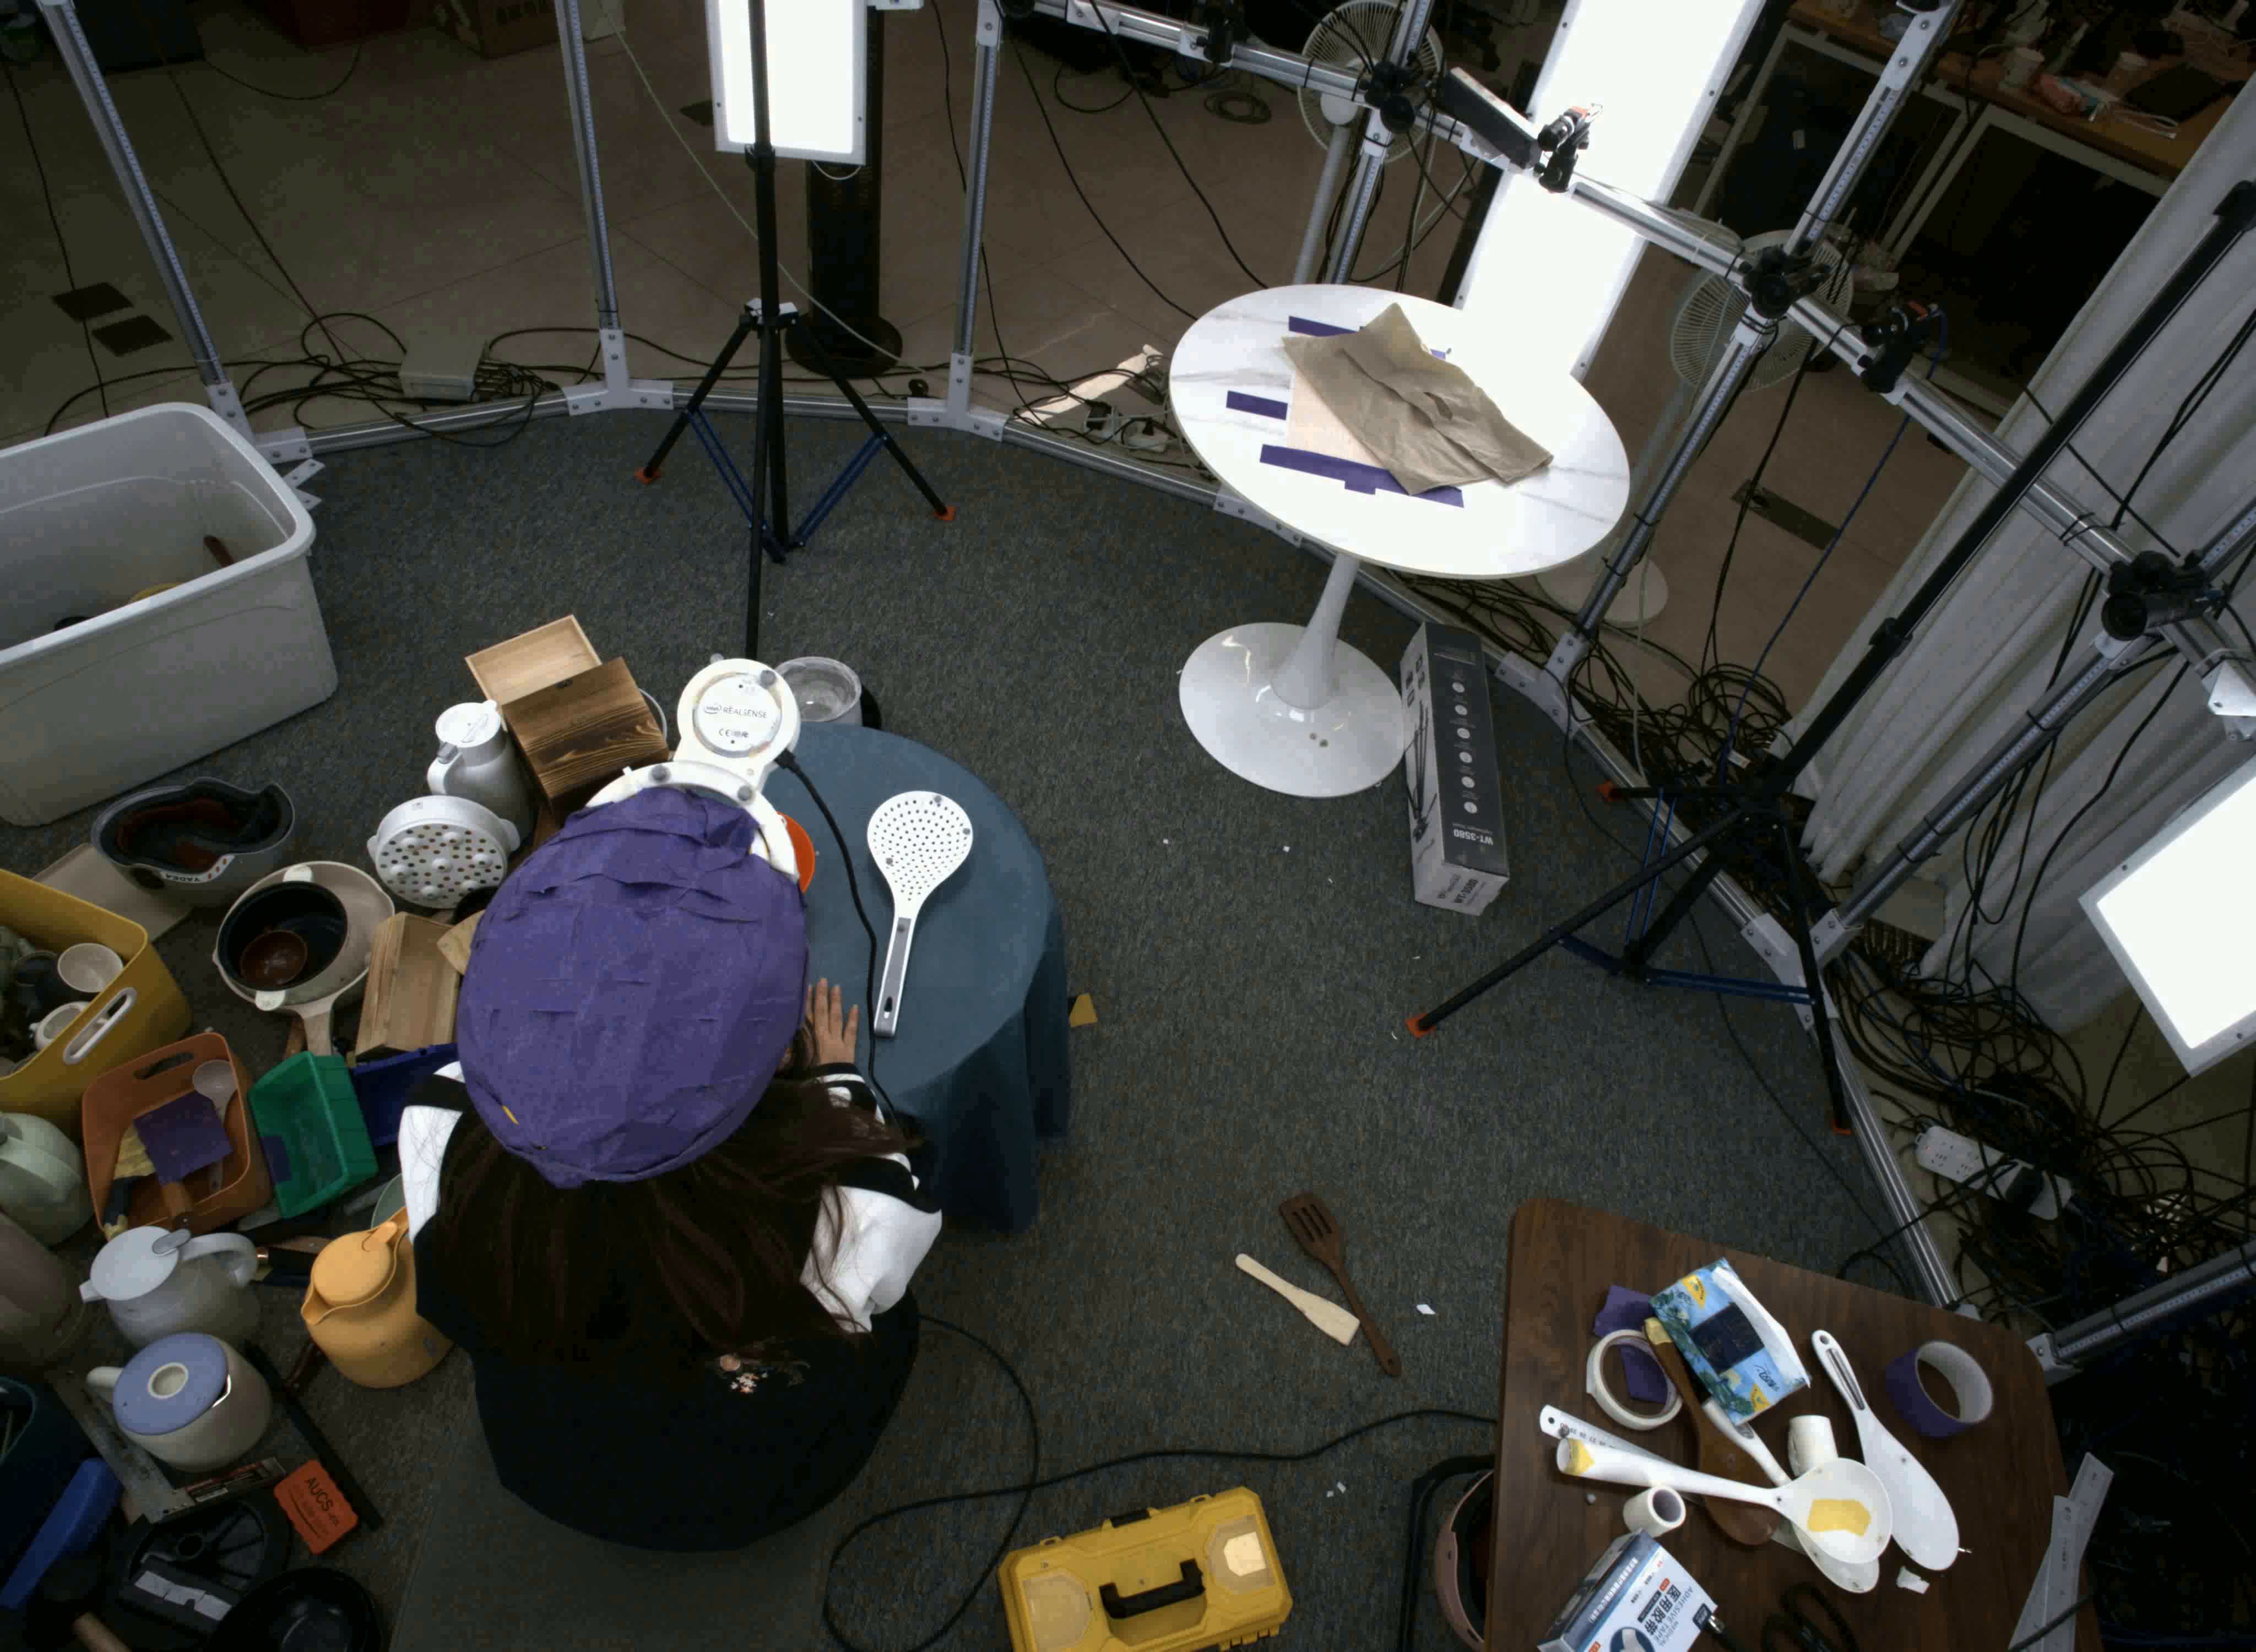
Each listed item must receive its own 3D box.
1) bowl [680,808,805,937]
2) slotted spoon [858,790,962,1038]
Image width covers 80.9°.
[{"bbox_3d":[-0.473,0.067,1.591,0.148,0.106,0.145,9,52,-10],"label":"bowl"},{"bbox_3d":[-0.292,0.104,1.647,0.135,0.047,0.344,8,53,-6],"label":"slotted spoon"}]
